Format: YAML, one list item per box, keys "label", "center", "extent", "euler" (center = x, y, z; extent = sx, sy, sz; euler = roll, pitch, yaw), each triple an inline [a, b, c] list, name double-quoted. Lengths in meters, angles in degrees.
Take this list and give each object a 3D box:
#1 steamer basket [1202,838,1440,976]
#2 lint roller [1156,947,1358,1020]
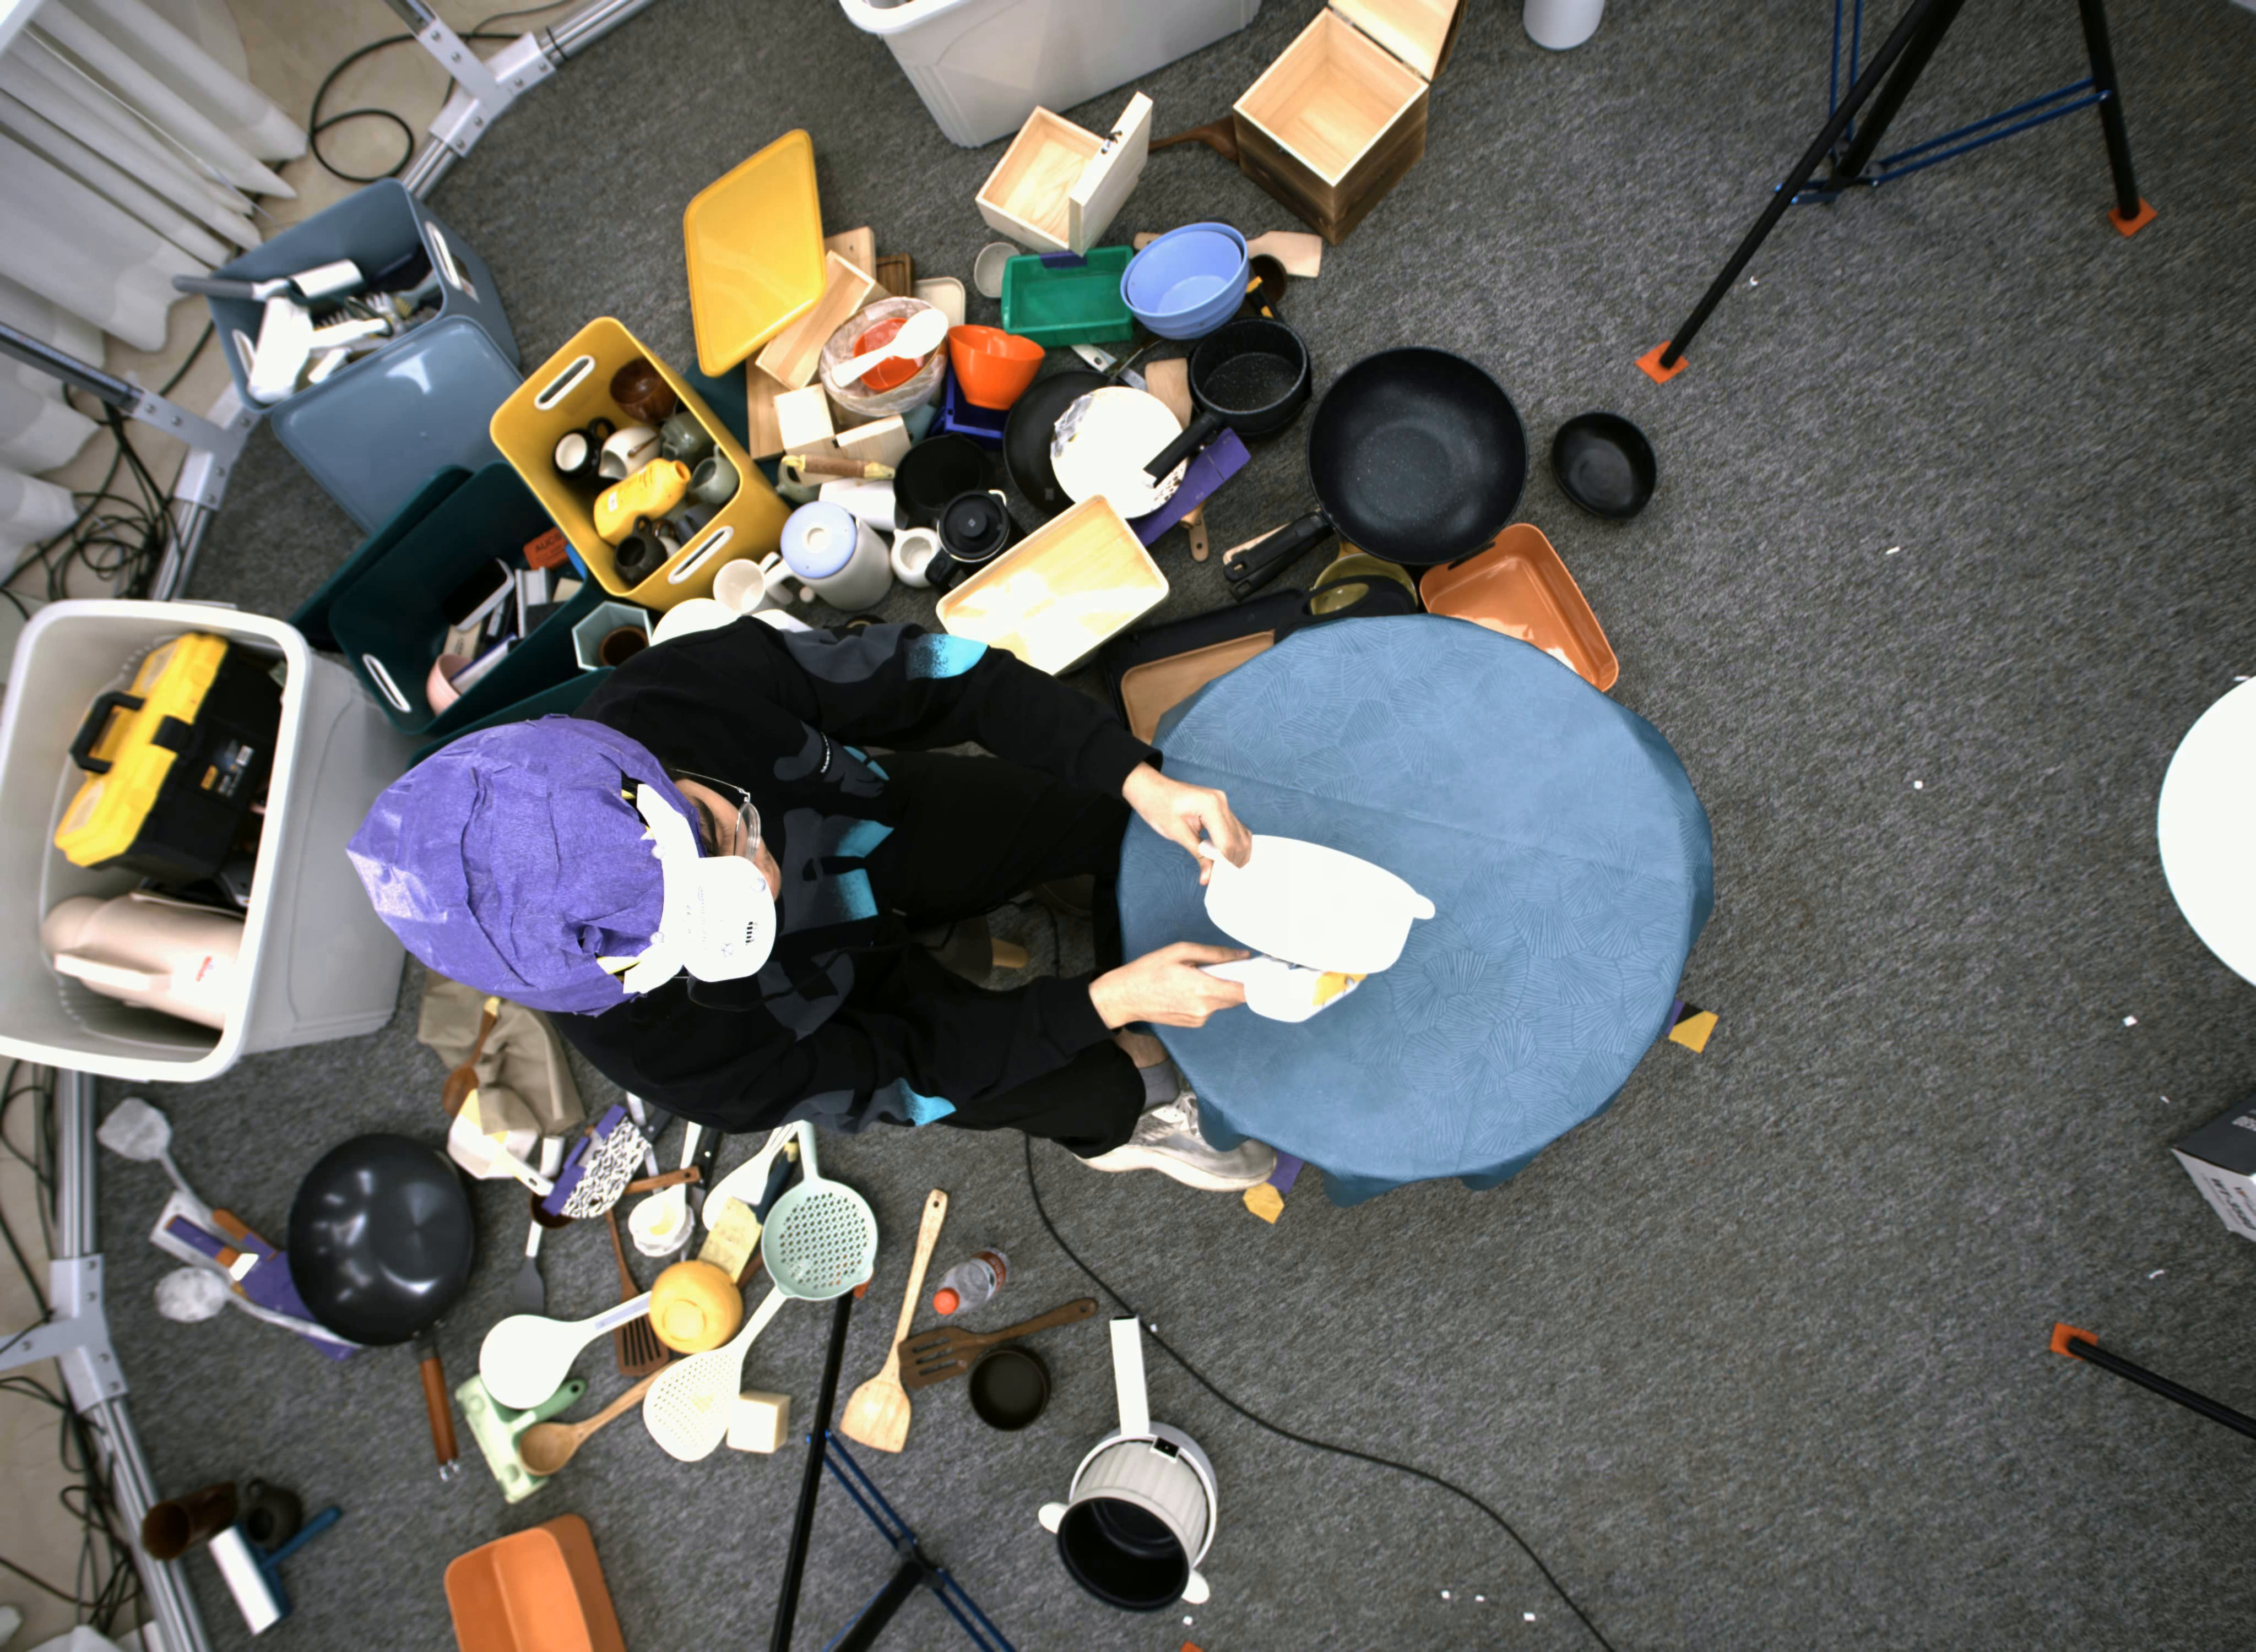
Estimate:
- label: "steamer basket"
  center: [0.175, 0.076, 1.311]
  extent: [0.231, 0.199, 0.070]
  euler: [16, 105, 7]
- label: "lint roller"
  center: [0.113, 0.139, 1.344]
  extent: [0.193, 0.190, 0.075]
  euler: [4, 102, 32]
